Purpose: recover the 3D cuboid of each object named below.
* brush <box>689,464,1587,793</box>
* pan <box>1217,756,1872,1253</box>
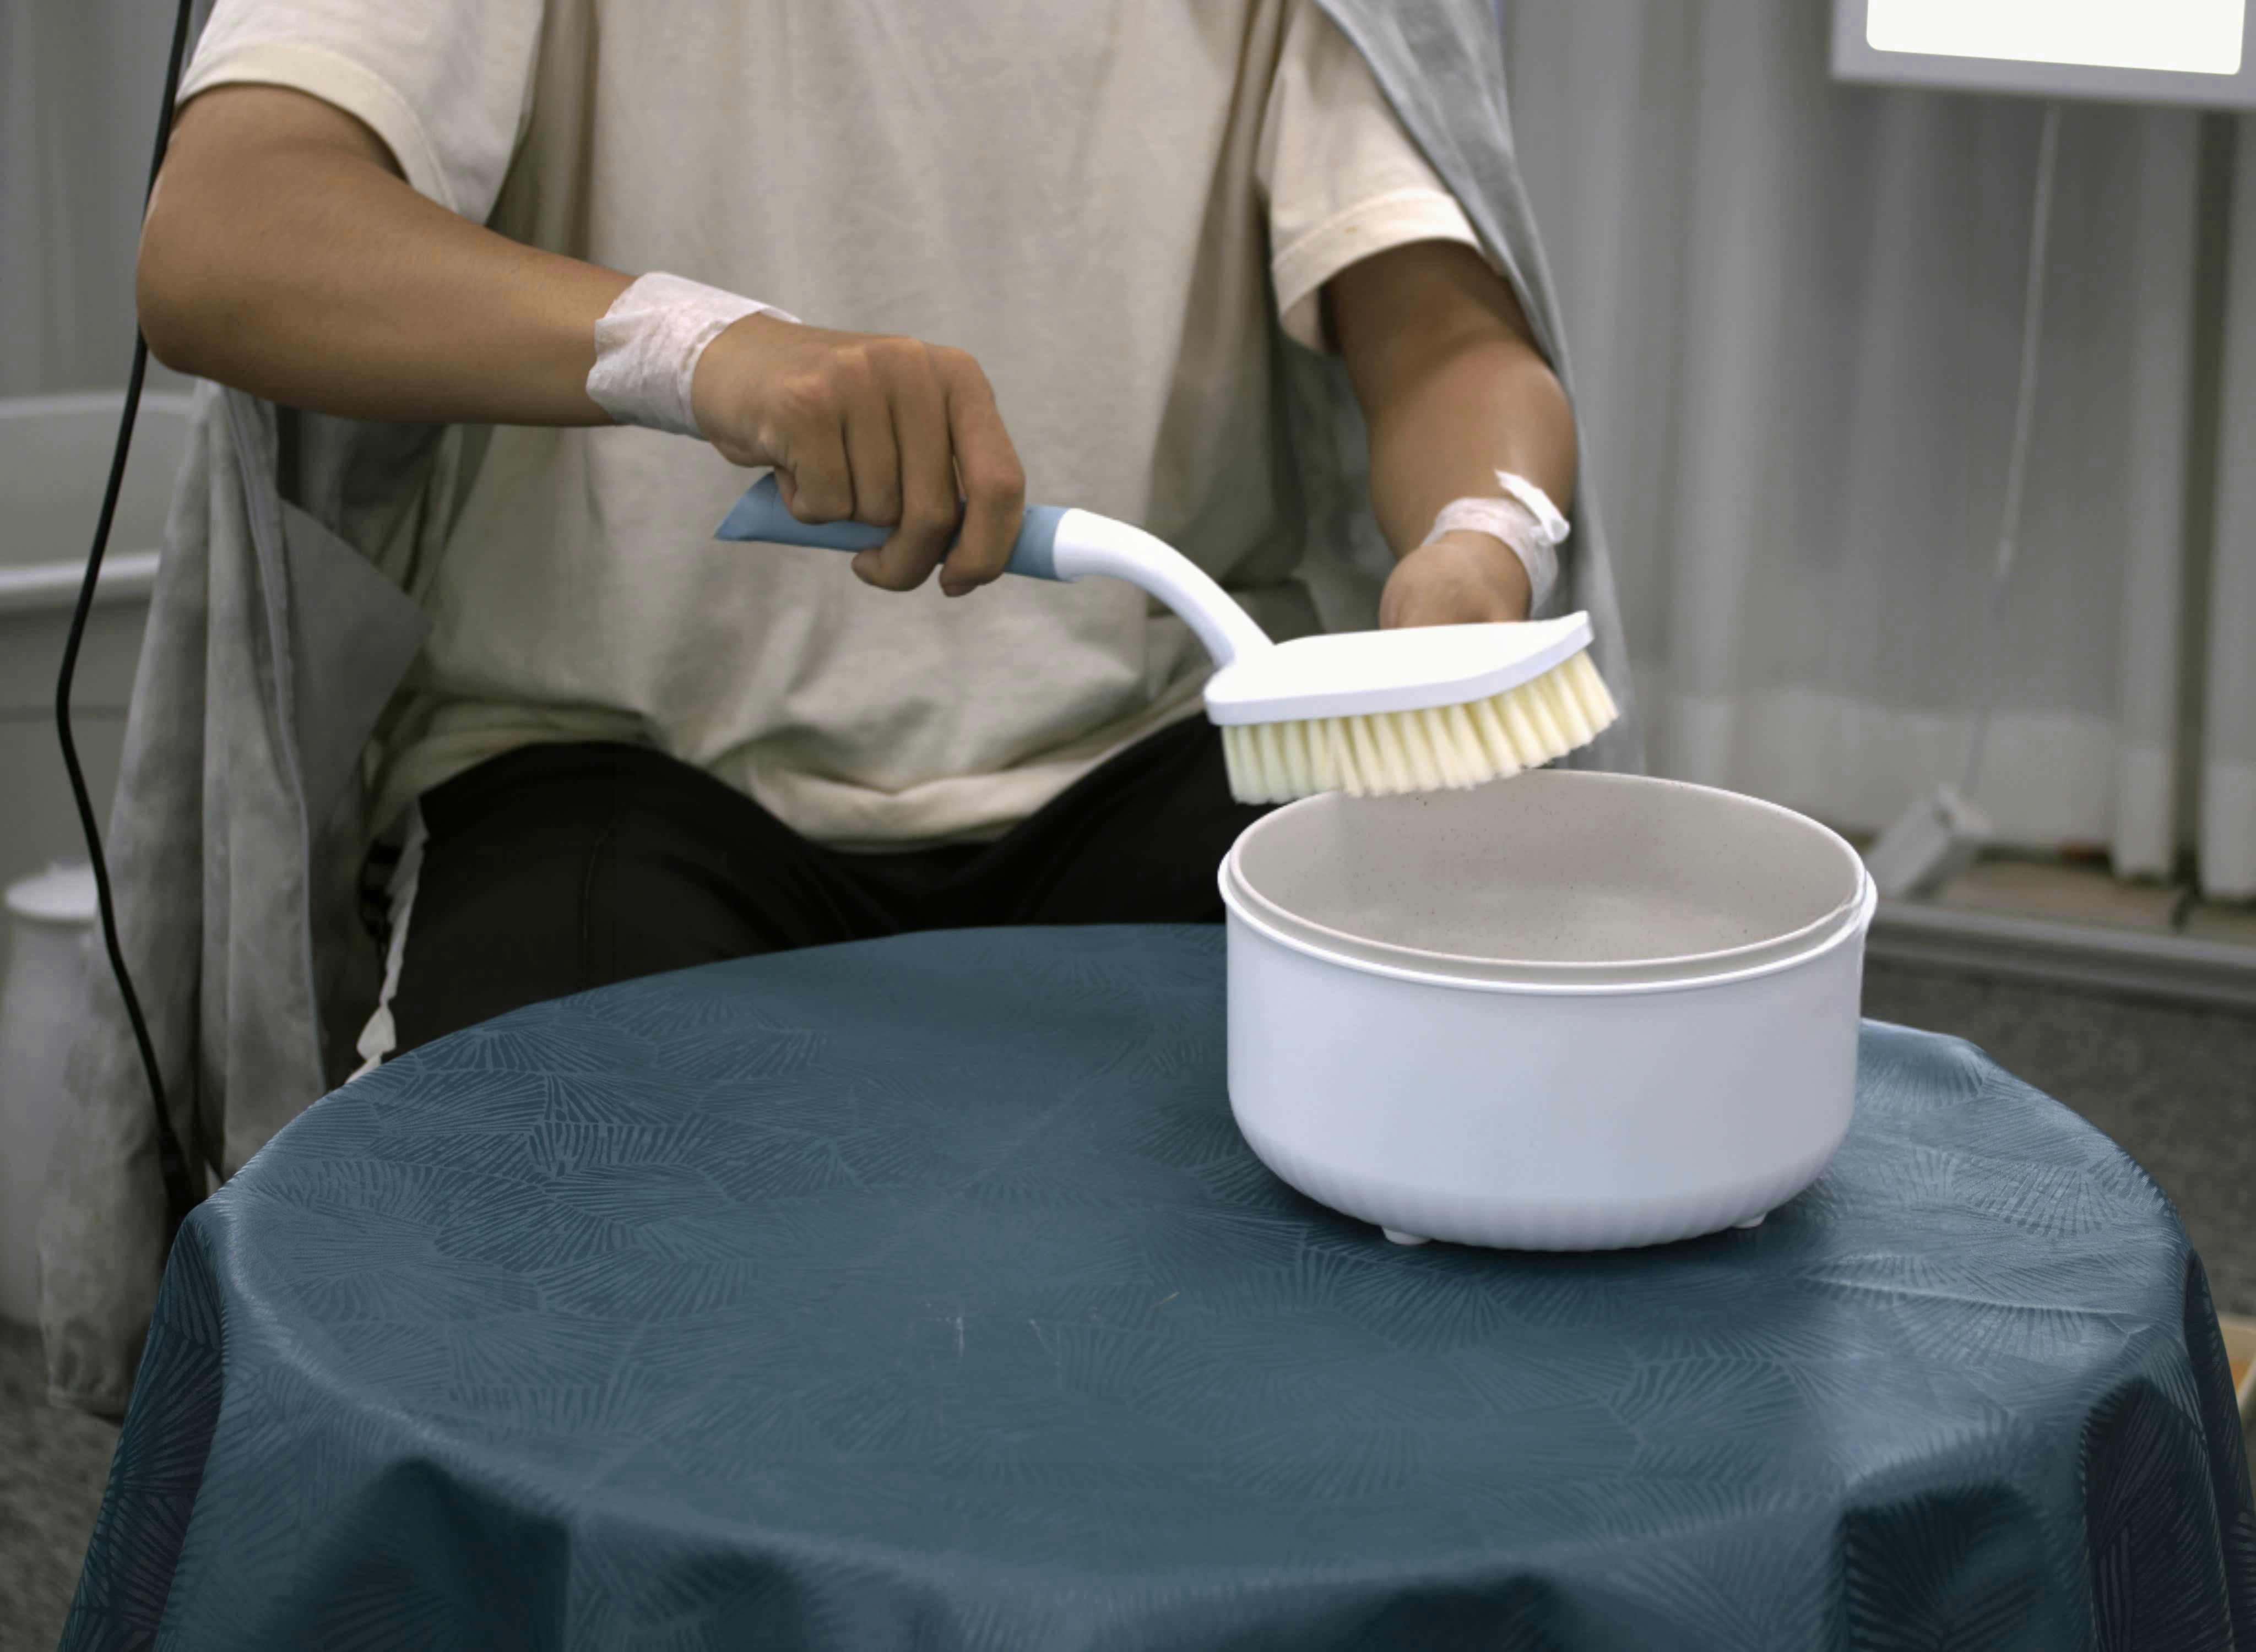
[{"bbox_3d":[-0.001,-0.054,1.734,0.322,0.084,0.084,9,-15,25],"label":"brush"},{"bbox_3d":[0.115,0.037,1.699,0.201,0.103,0.351,-3,17,-9],"label":"pan"}]
